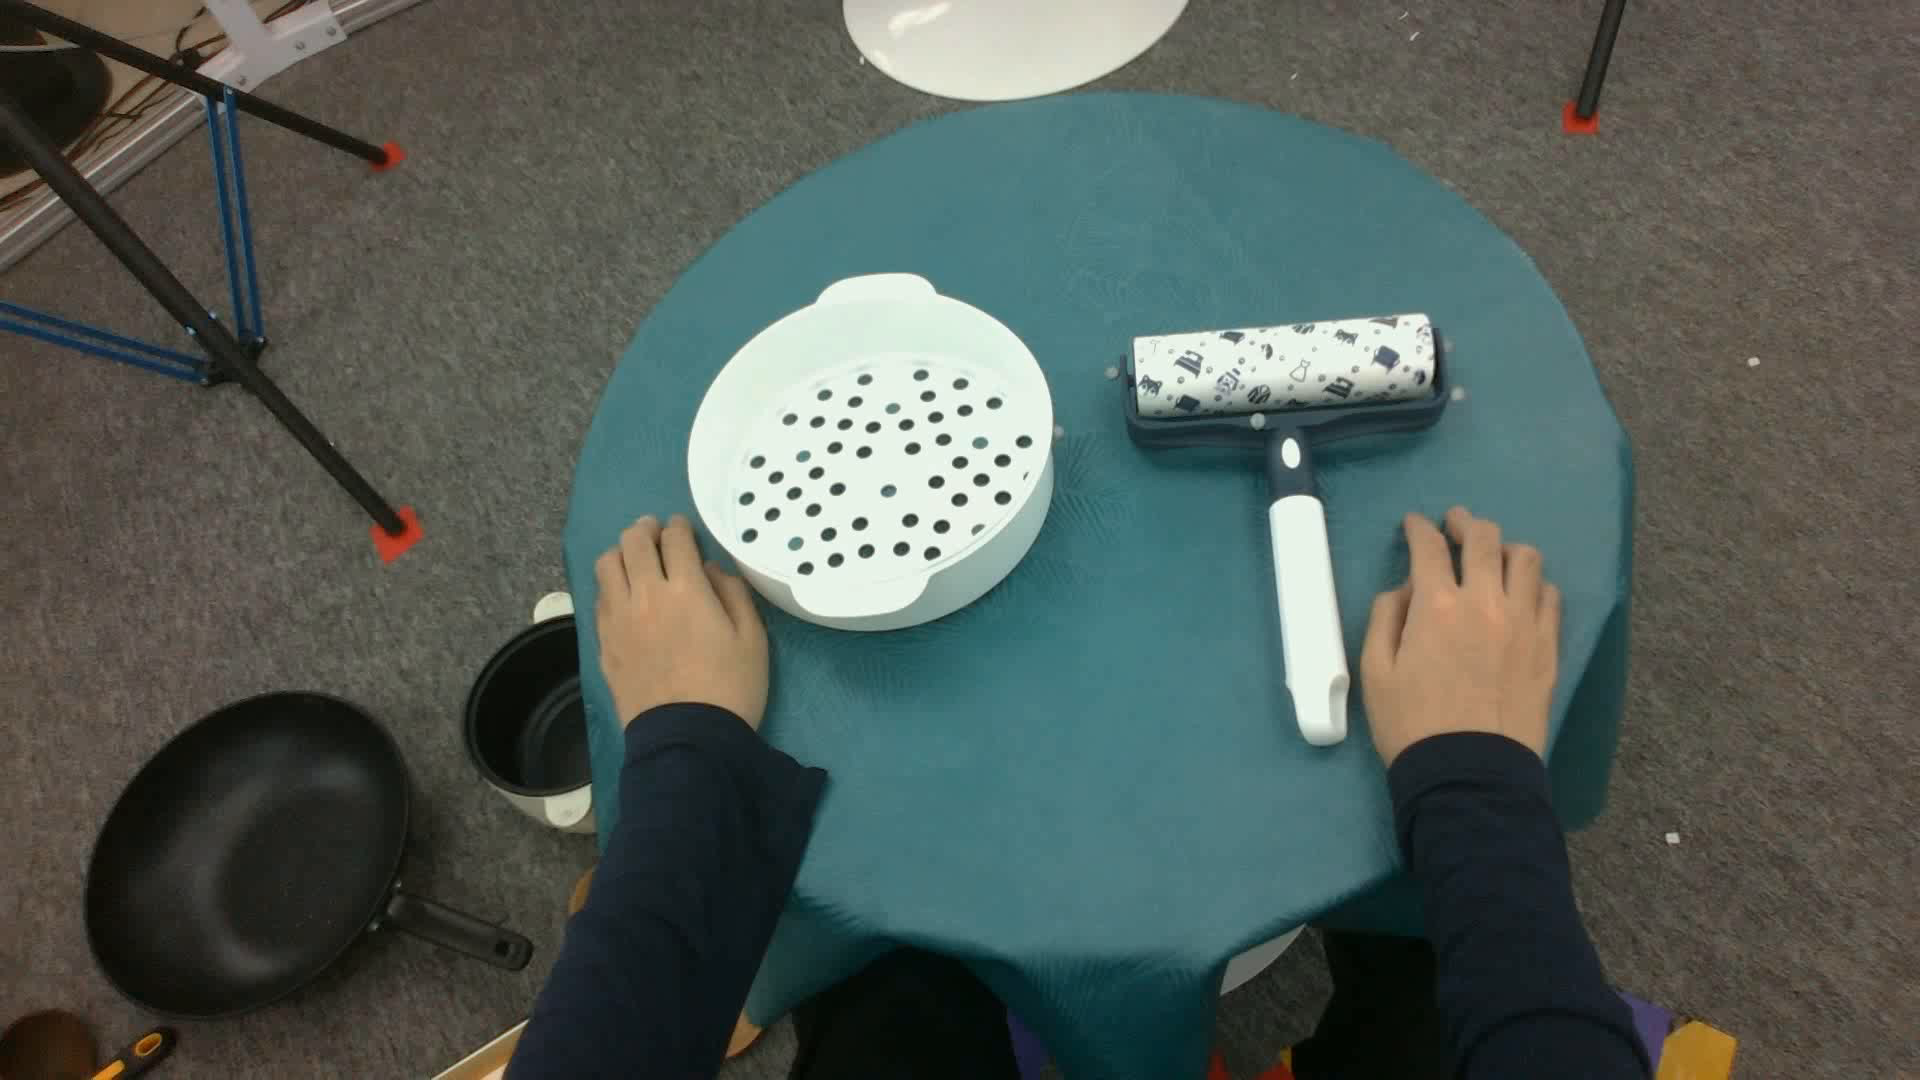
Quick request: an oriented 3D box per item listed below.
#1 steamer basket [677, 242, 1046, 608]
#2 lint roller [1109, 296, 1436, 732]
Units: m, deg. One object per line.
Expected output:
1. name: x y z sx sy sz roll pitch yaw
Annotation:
1. steamer basket: -0.052 -0.059 0.771 0.202 0.069 0.231 -4 61 7
2. lint roller: 0.175 -0.021 0.727 0.176 0.050 0.248 -4 60 5
